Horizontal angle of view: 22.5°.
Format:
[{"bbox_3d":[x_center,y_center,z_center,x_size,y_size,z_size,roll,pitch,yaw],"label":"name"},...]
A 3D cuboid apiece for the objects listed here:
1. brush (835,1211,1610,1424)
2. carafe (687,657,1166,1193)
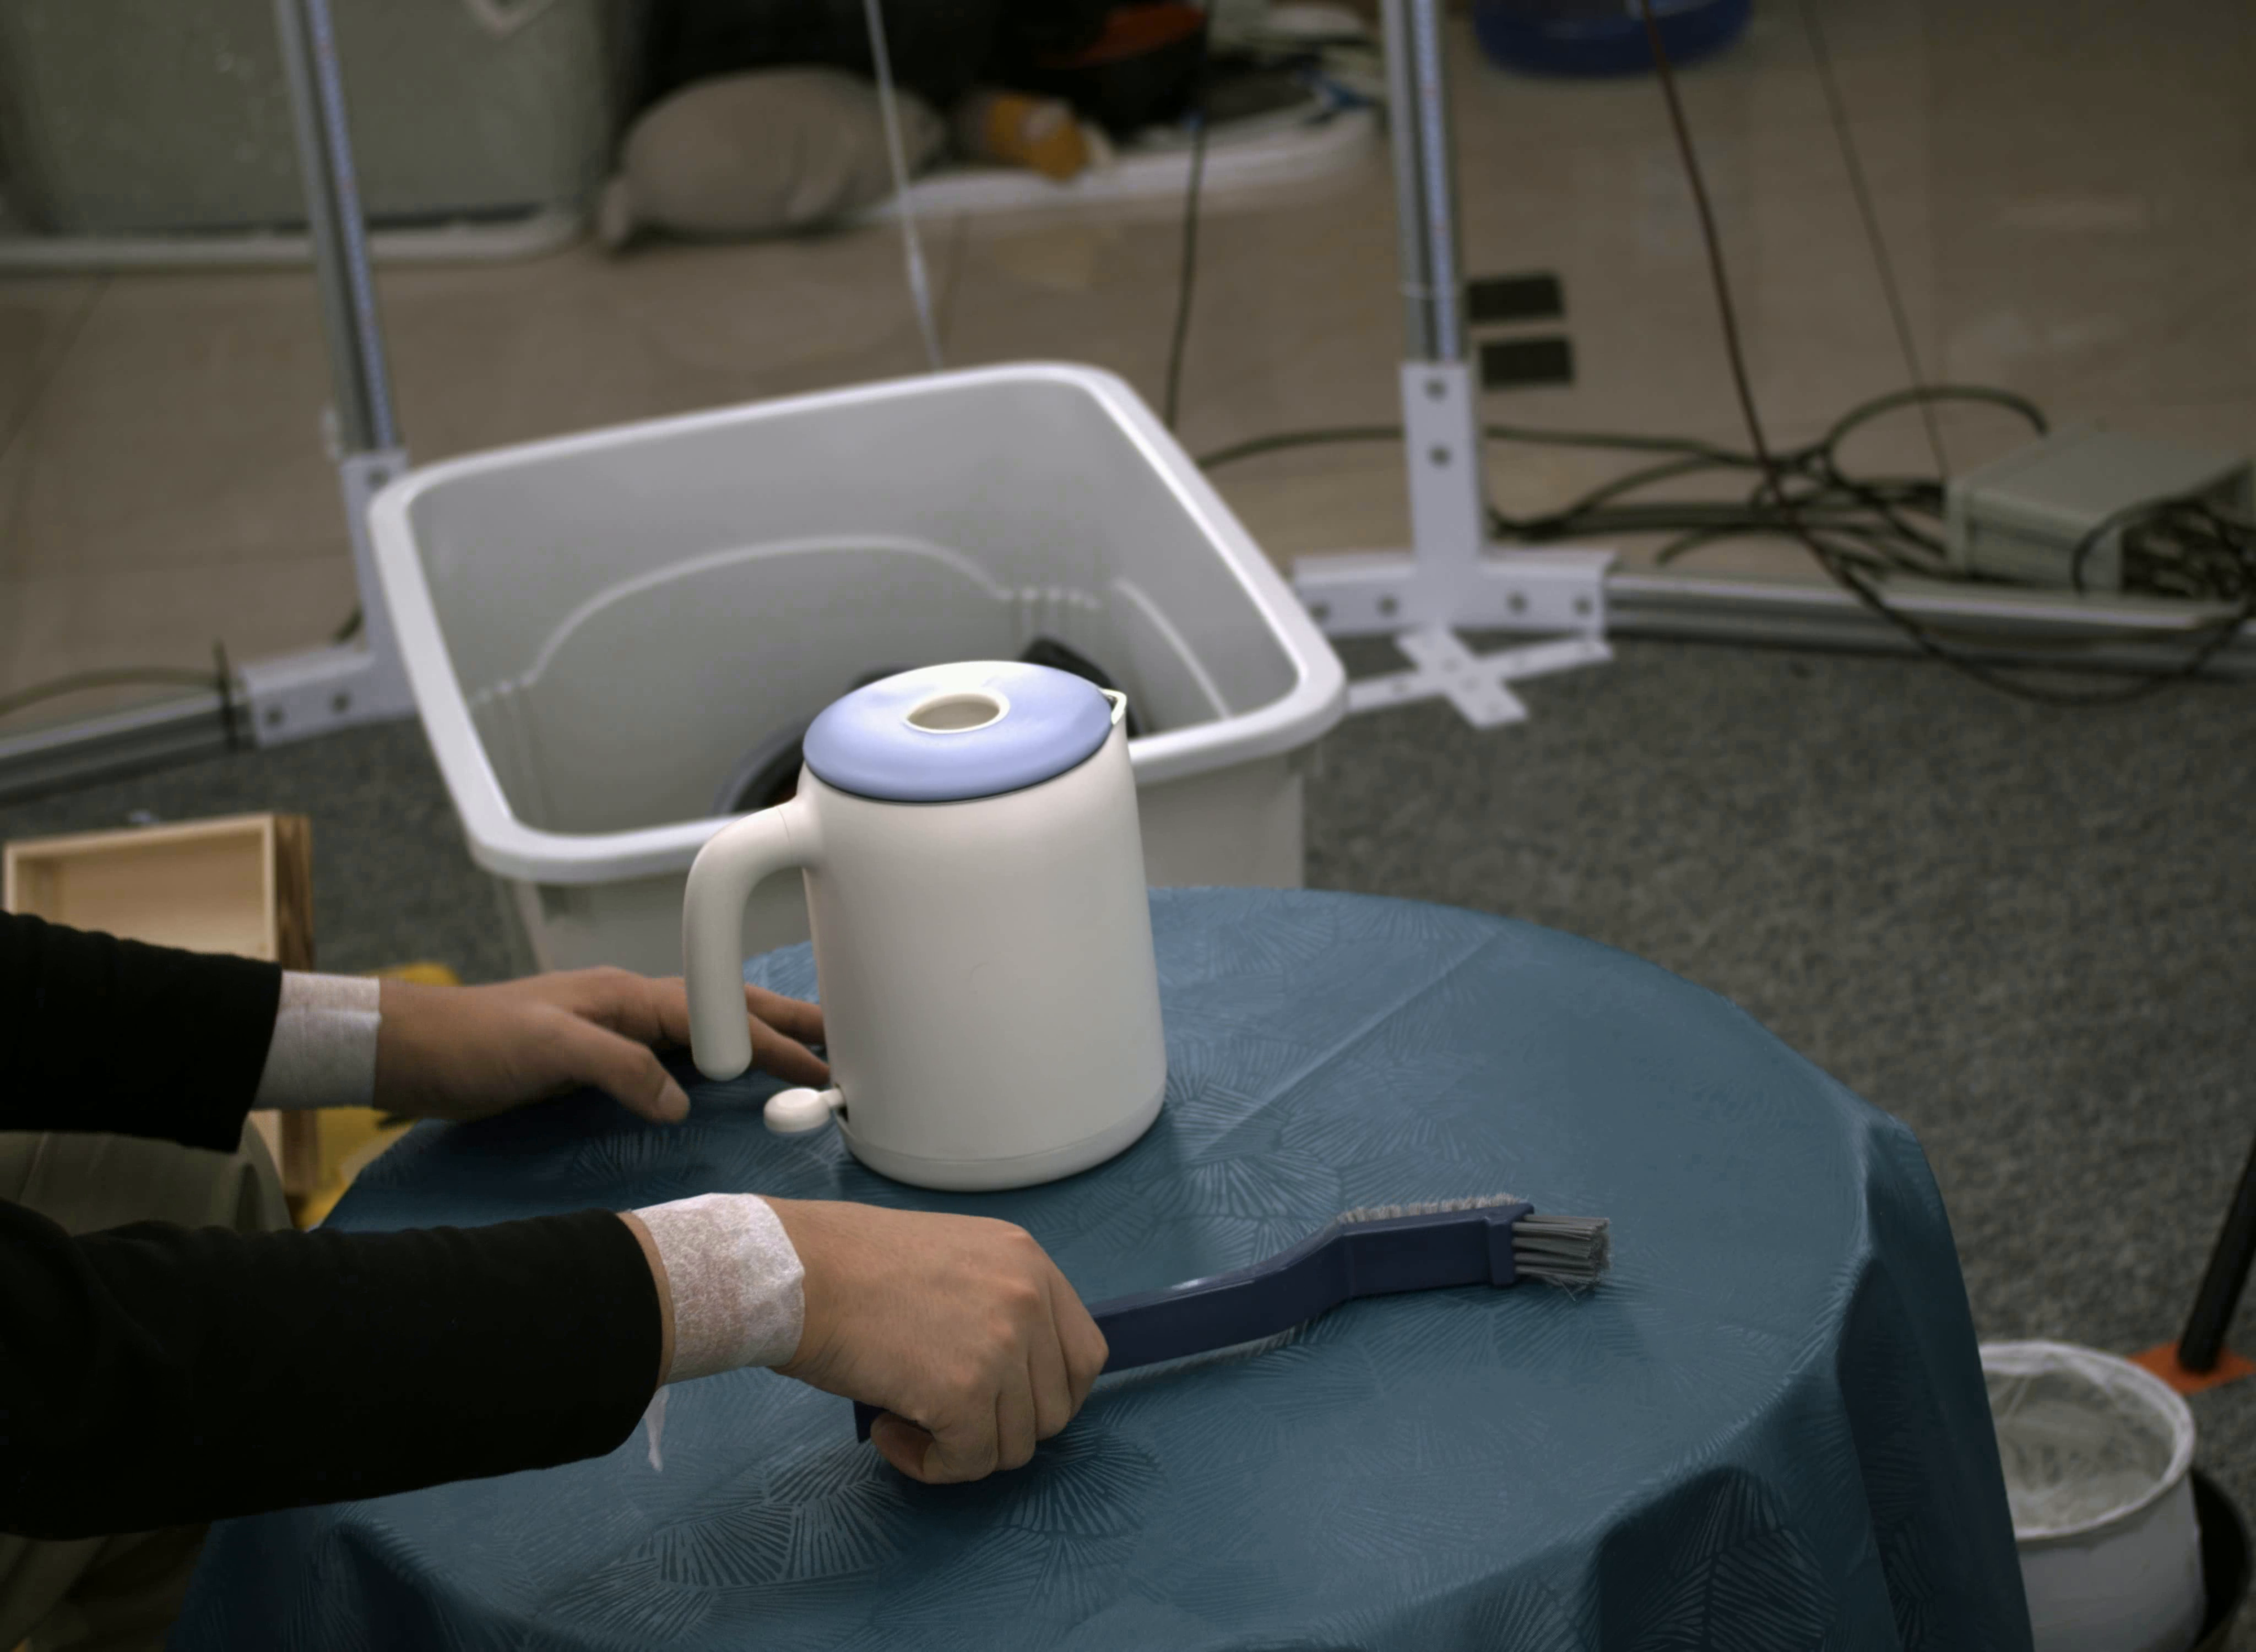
[{"bbox_3d":[0.032,0.175,2.017,0.272,0.034,0.094,-14,26,-23],"label":"brush"},{"bbox_3d":[-0.079,0.044,2.166,0.190,0.185,0.130,-16,27,-17],"label":"carafe"}]
